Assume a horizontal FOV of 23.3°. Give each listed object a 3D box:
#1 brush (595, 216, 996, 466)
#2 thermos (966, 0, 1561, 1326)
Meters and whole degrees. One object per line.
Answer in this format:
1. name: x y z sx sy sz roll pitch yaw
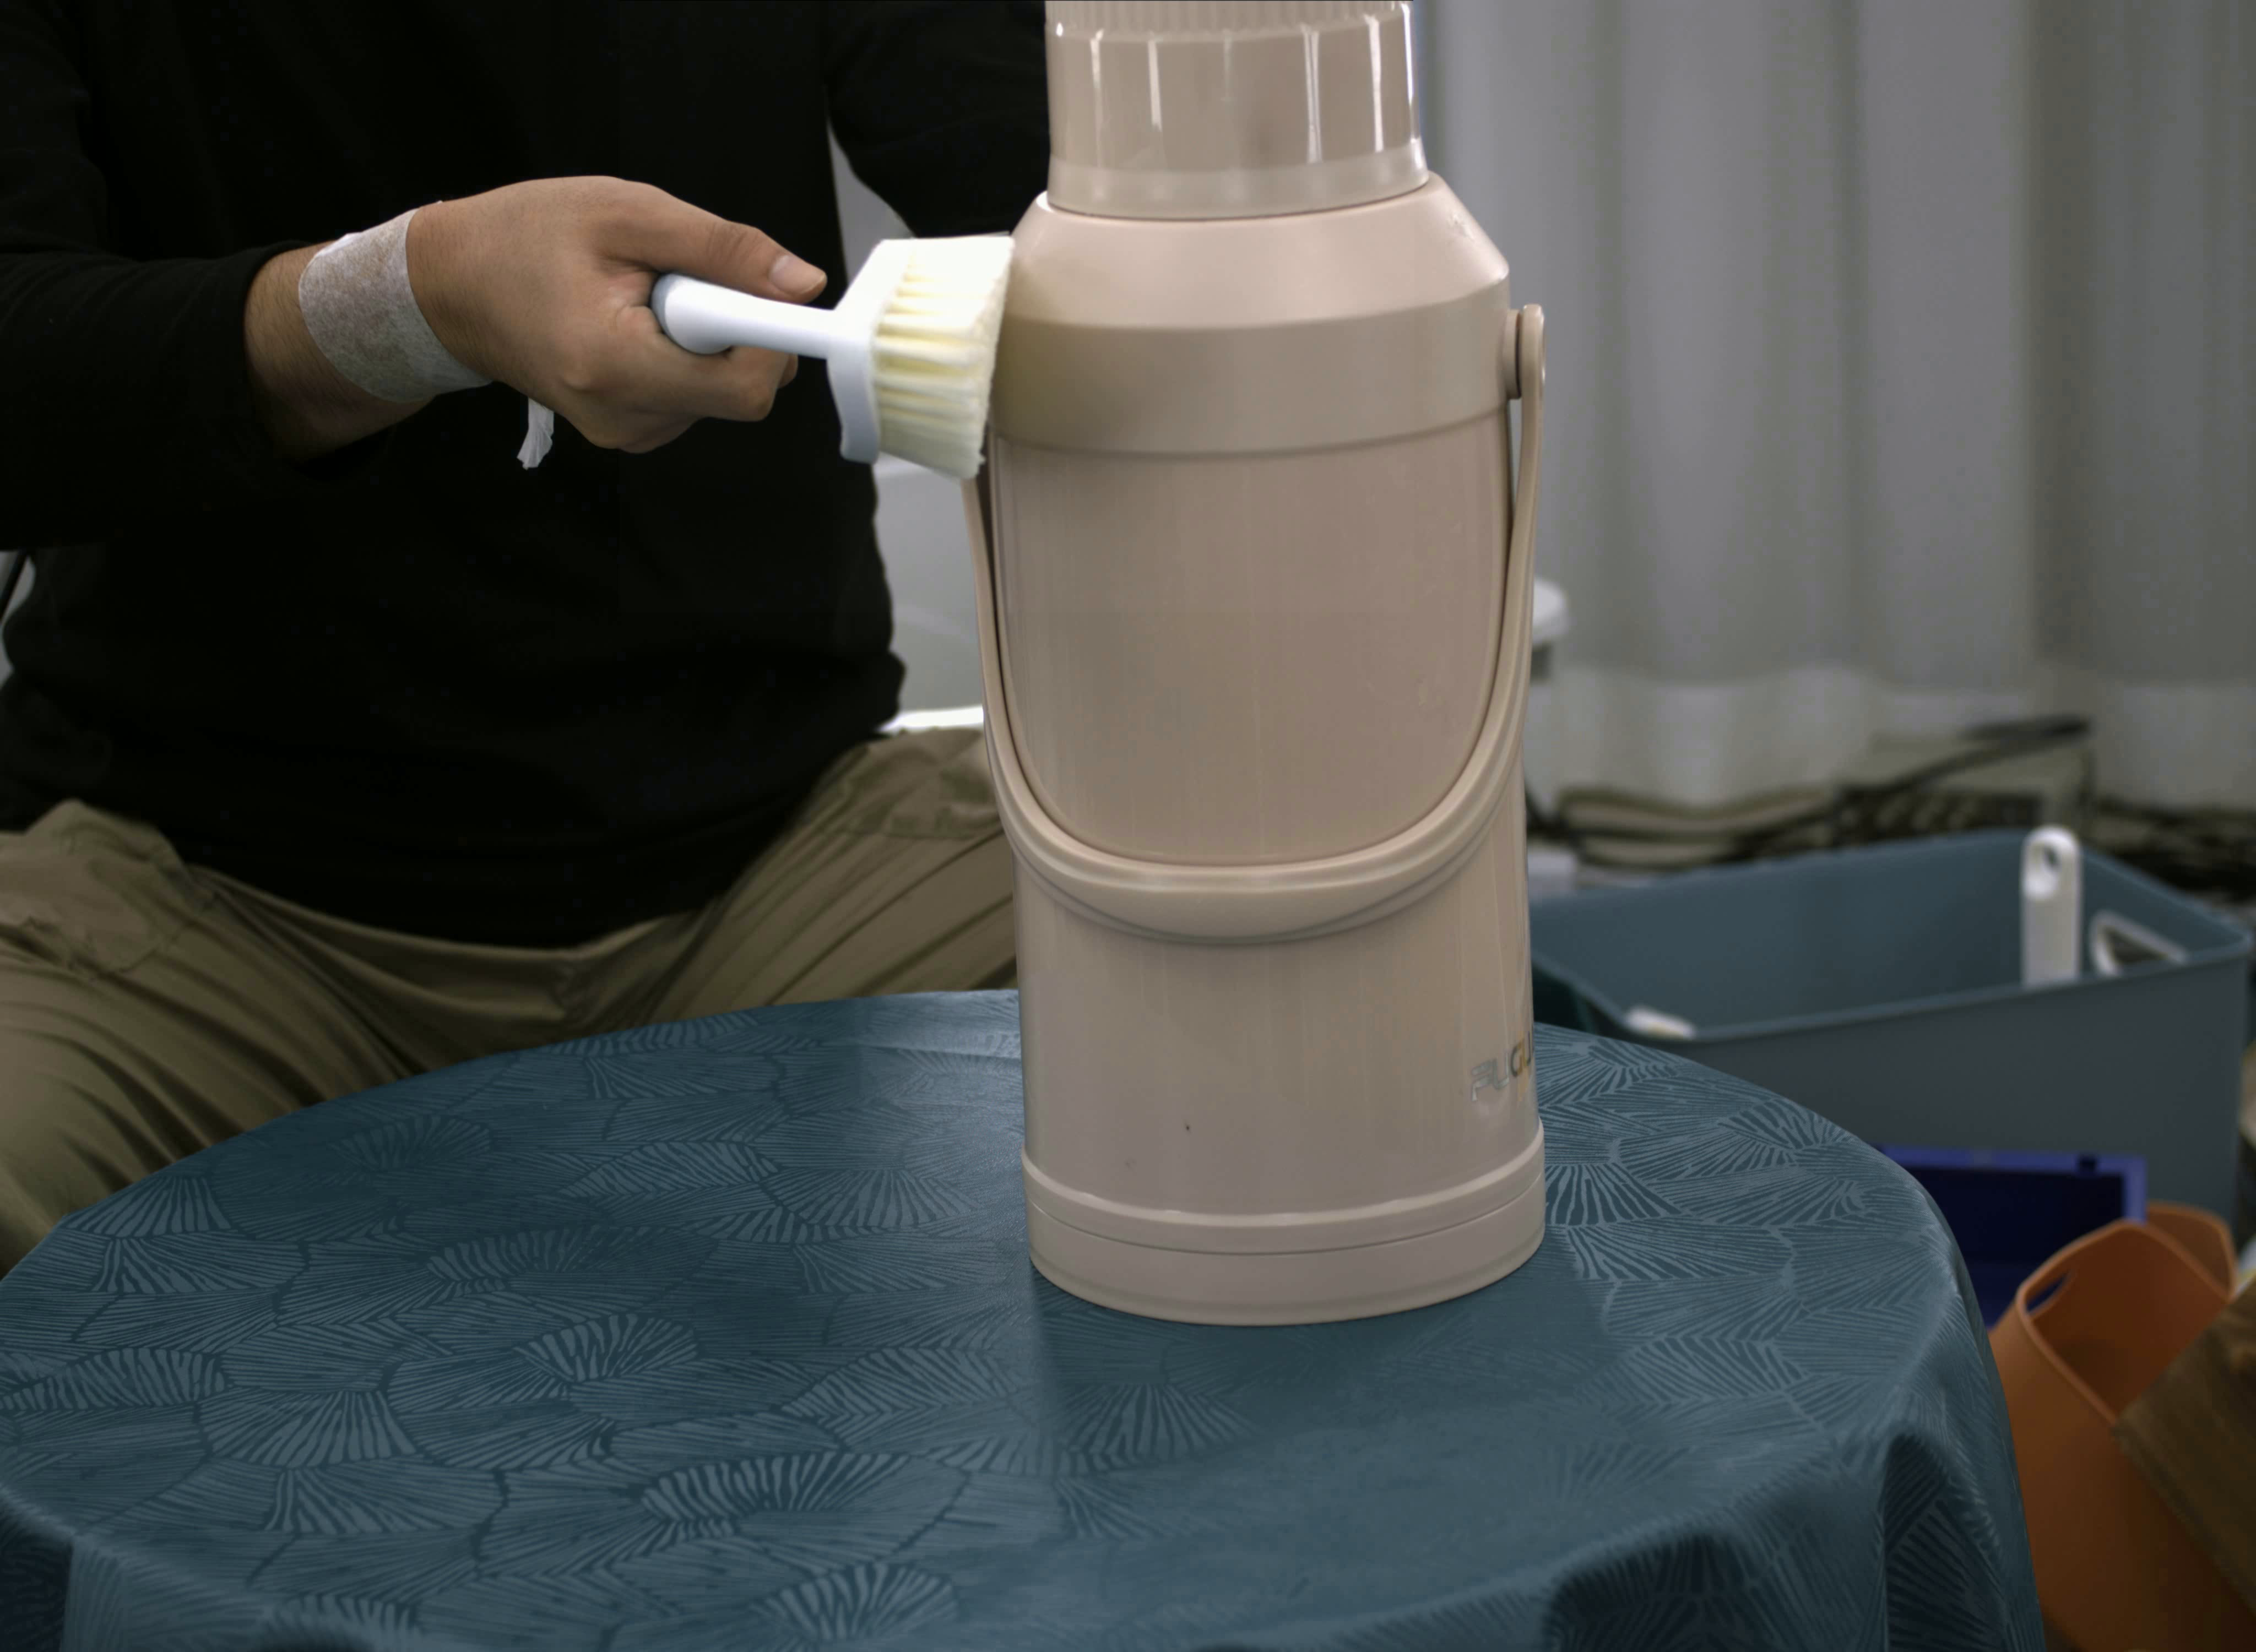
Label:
1. brush: -0.083 -0.151 1.618 0.083 0.084 0.327 -45 15 -6
2. thermos: 0.045 -0.070 1.633 0.175 0.405 0.208 -2 14 10
